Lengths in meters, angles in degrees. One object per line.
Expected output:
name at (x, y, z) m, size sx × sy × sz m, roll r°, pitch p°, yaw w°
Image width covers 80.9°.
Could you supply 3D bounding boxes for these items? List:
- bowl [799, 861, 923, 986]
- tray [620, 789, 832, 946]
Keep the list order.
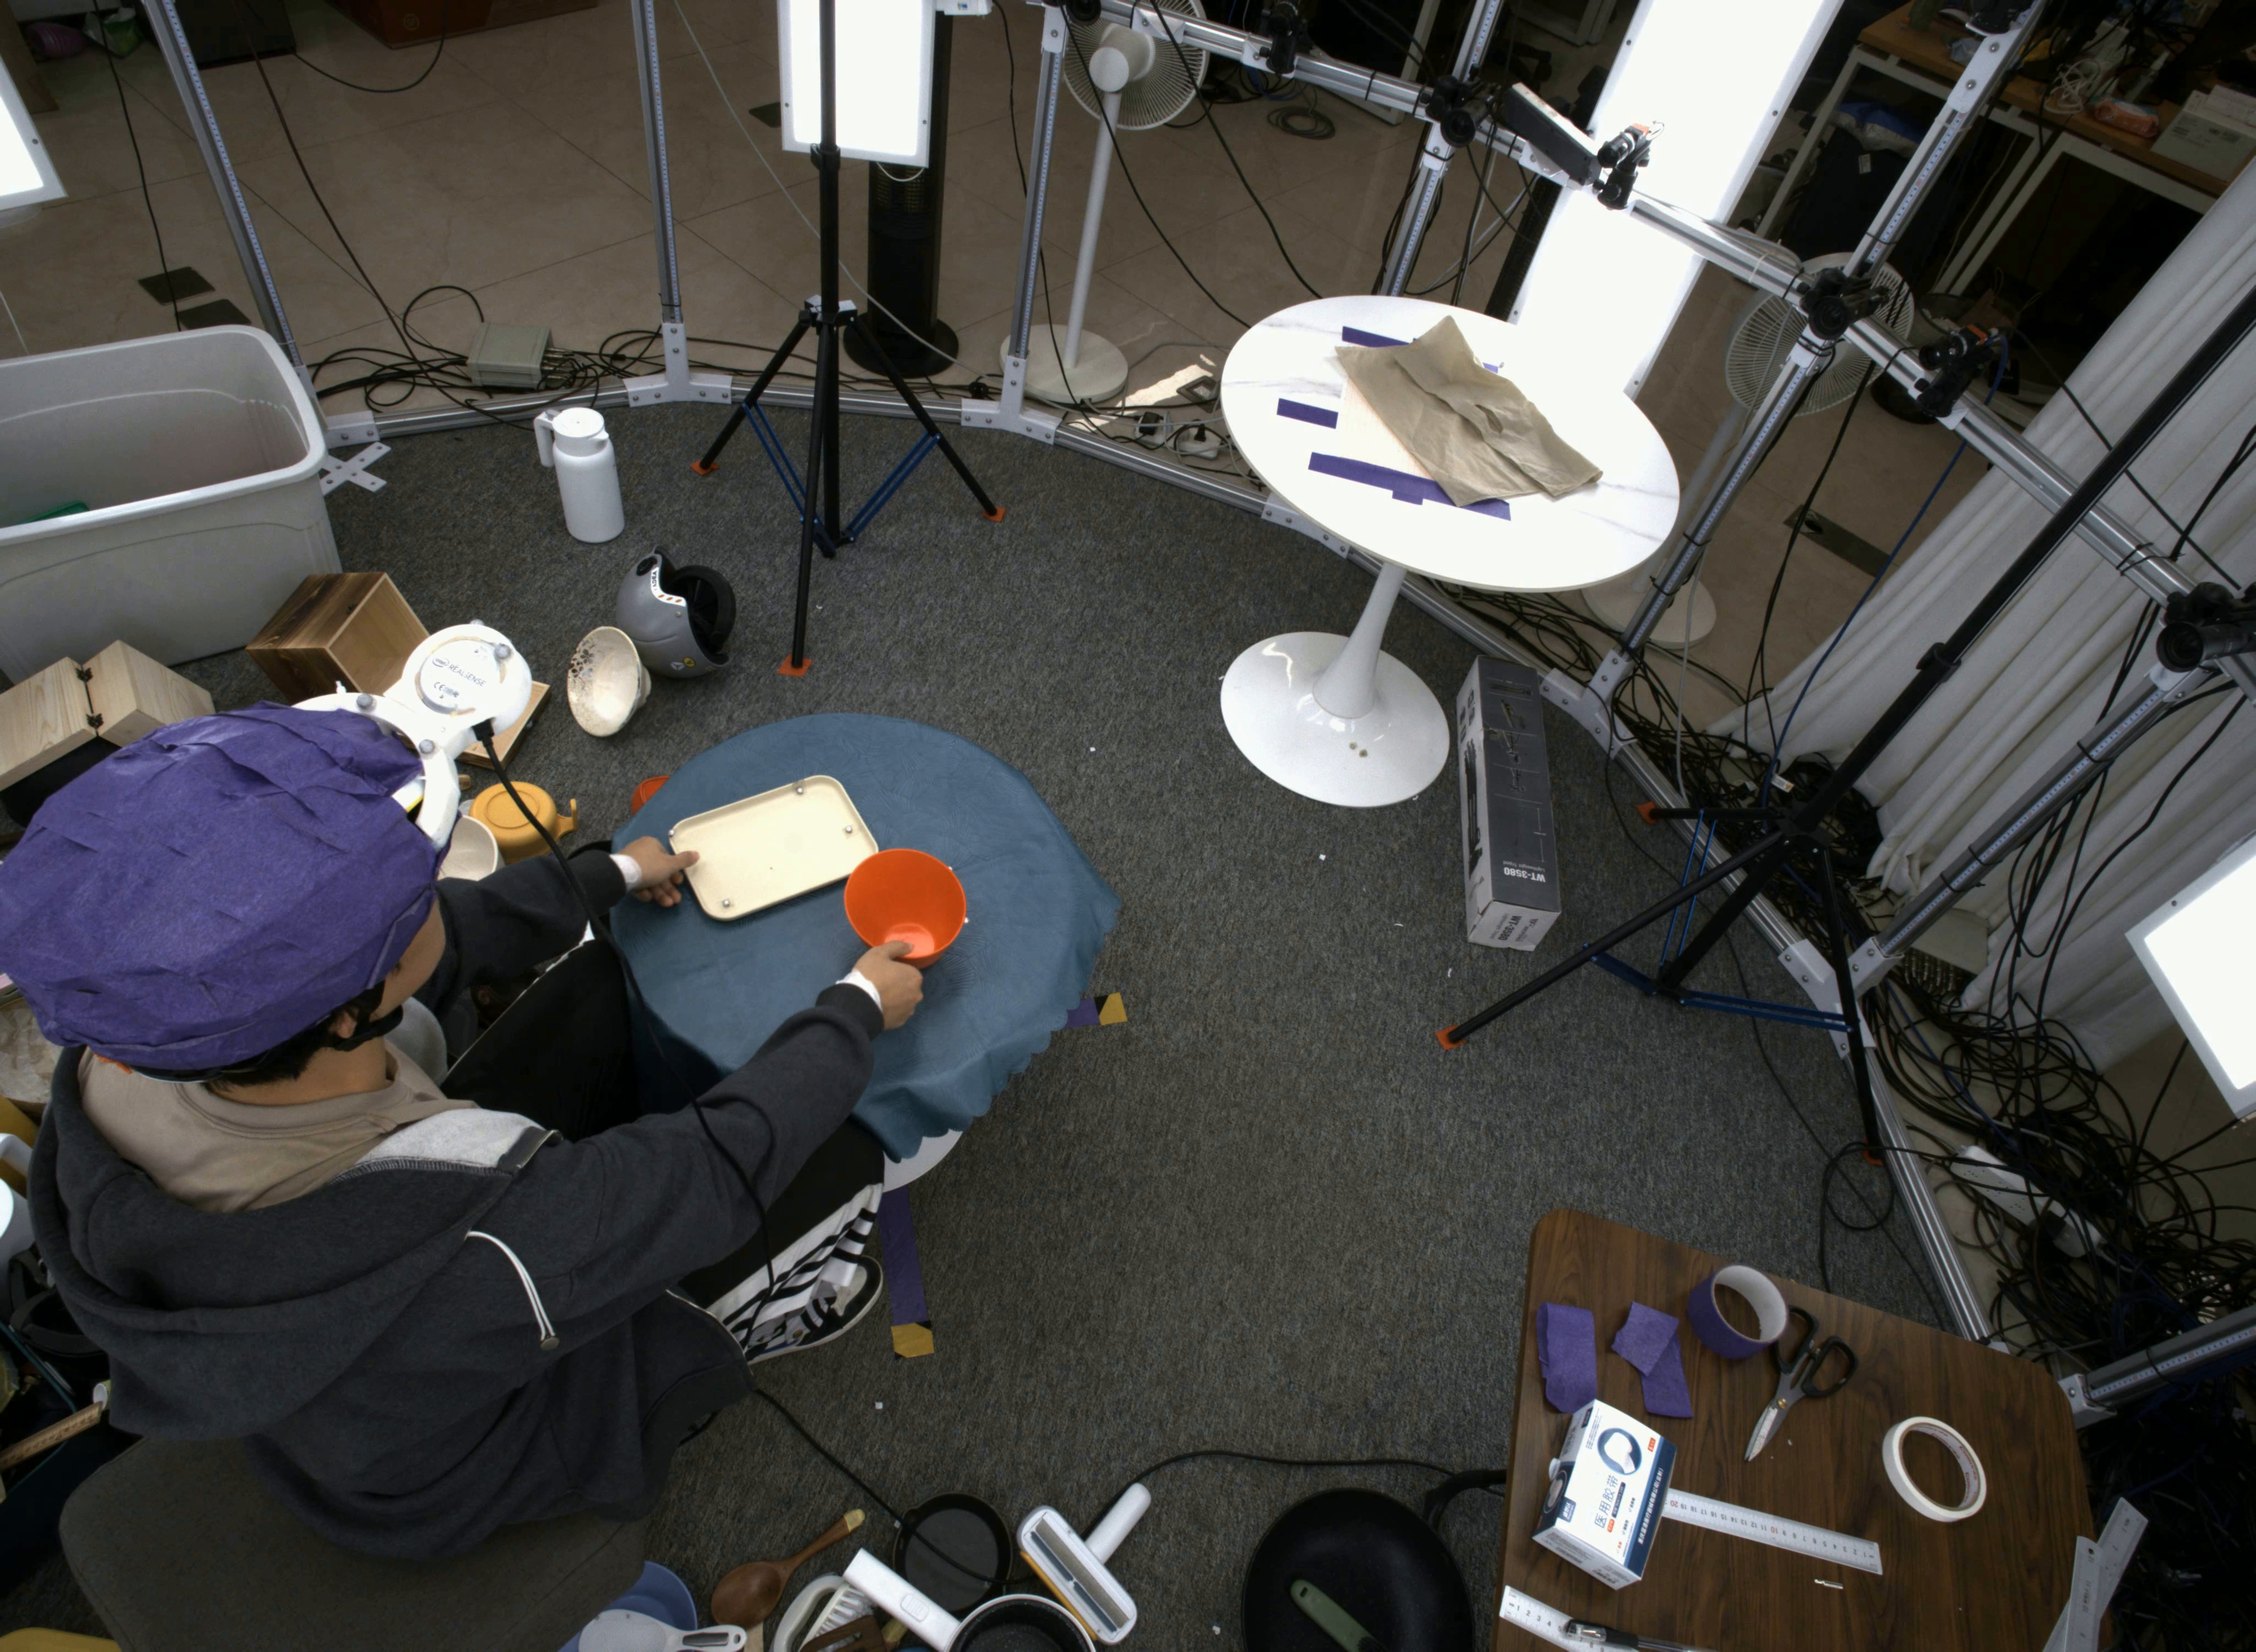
bowl at (-0.326, 0.130, 1.592) m, size 0.148 × 0.107 × 0.145 m, roll 8°, pitch 50°, yaw -8°
tray at (-0.515, 0.049, 1.657) m, size 0.241 × 0.018 × 0.167 m, roll -25°, pitch 64°, yaw -29°
